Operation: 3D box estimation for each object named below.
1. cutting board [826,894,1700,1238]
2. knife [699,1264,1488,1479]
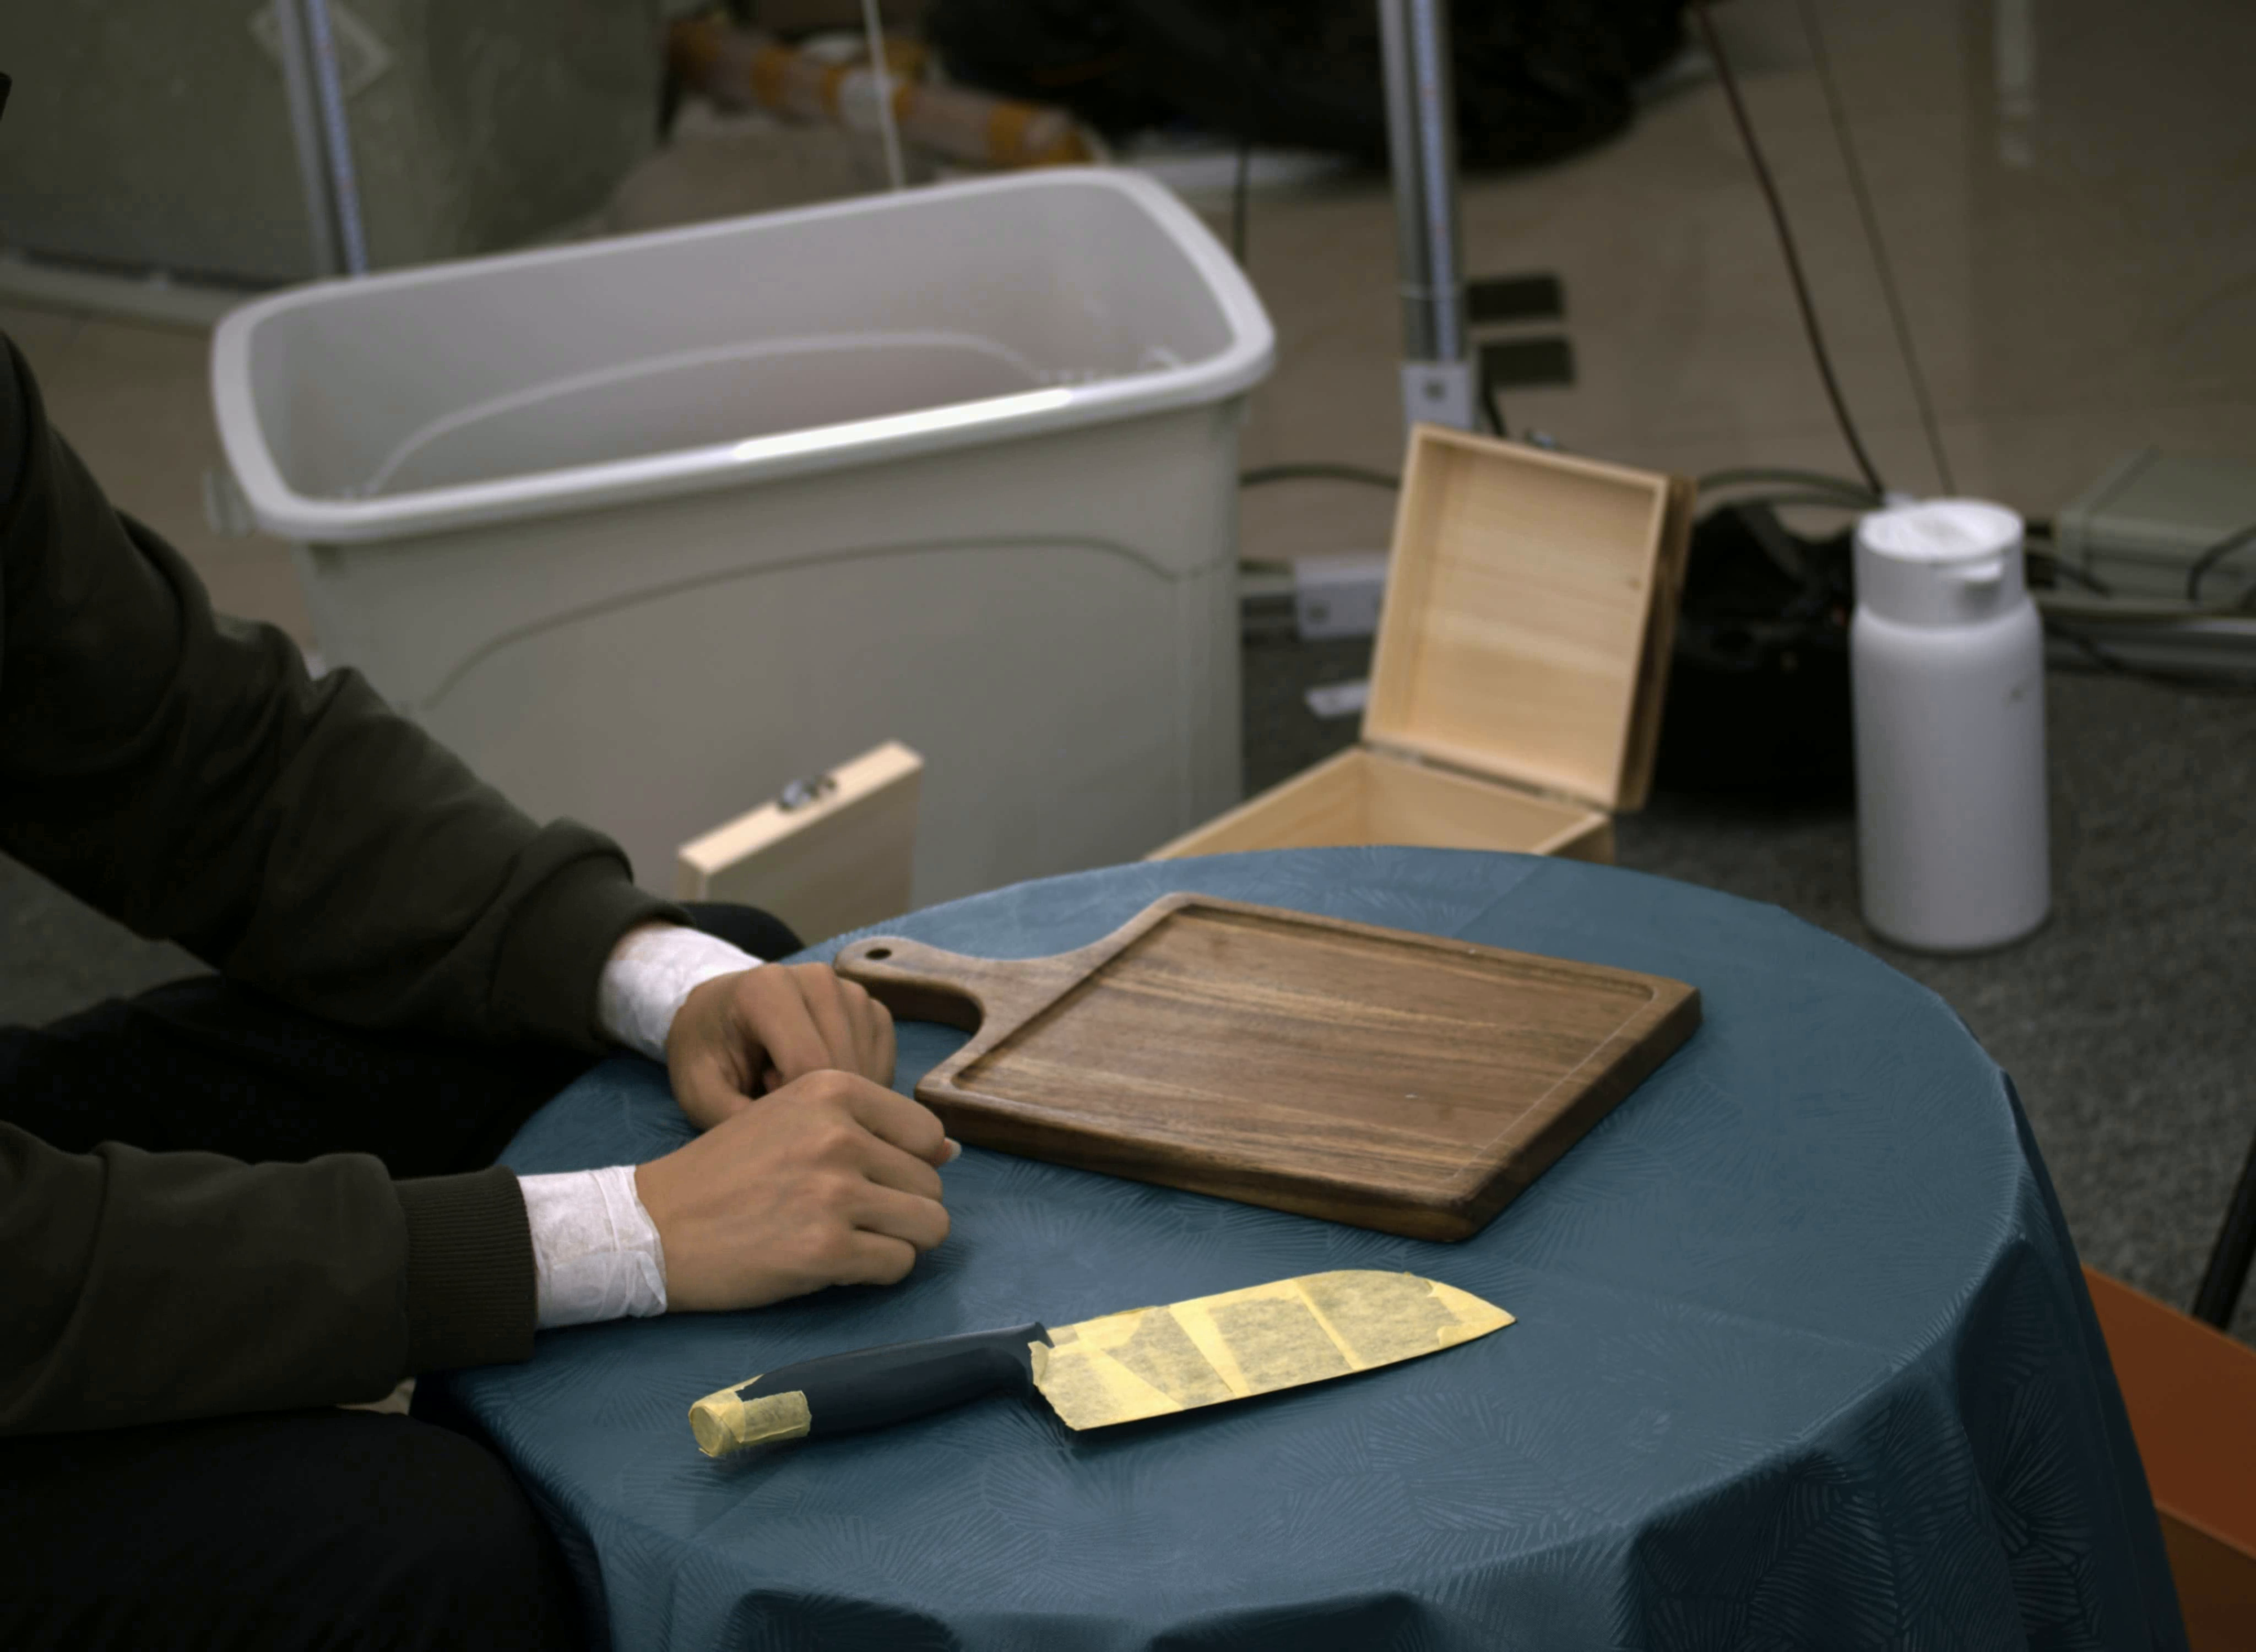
[{"bbox_3d":[0.029,0.083,2.240,0.350,0.023,0.199,9,29,32],"label":"cutting board"},{"bbox_3d":[-0.009,0.195,2.017,0.289,0.027,0.080,-11,24,-12],"label":"knife"}]
